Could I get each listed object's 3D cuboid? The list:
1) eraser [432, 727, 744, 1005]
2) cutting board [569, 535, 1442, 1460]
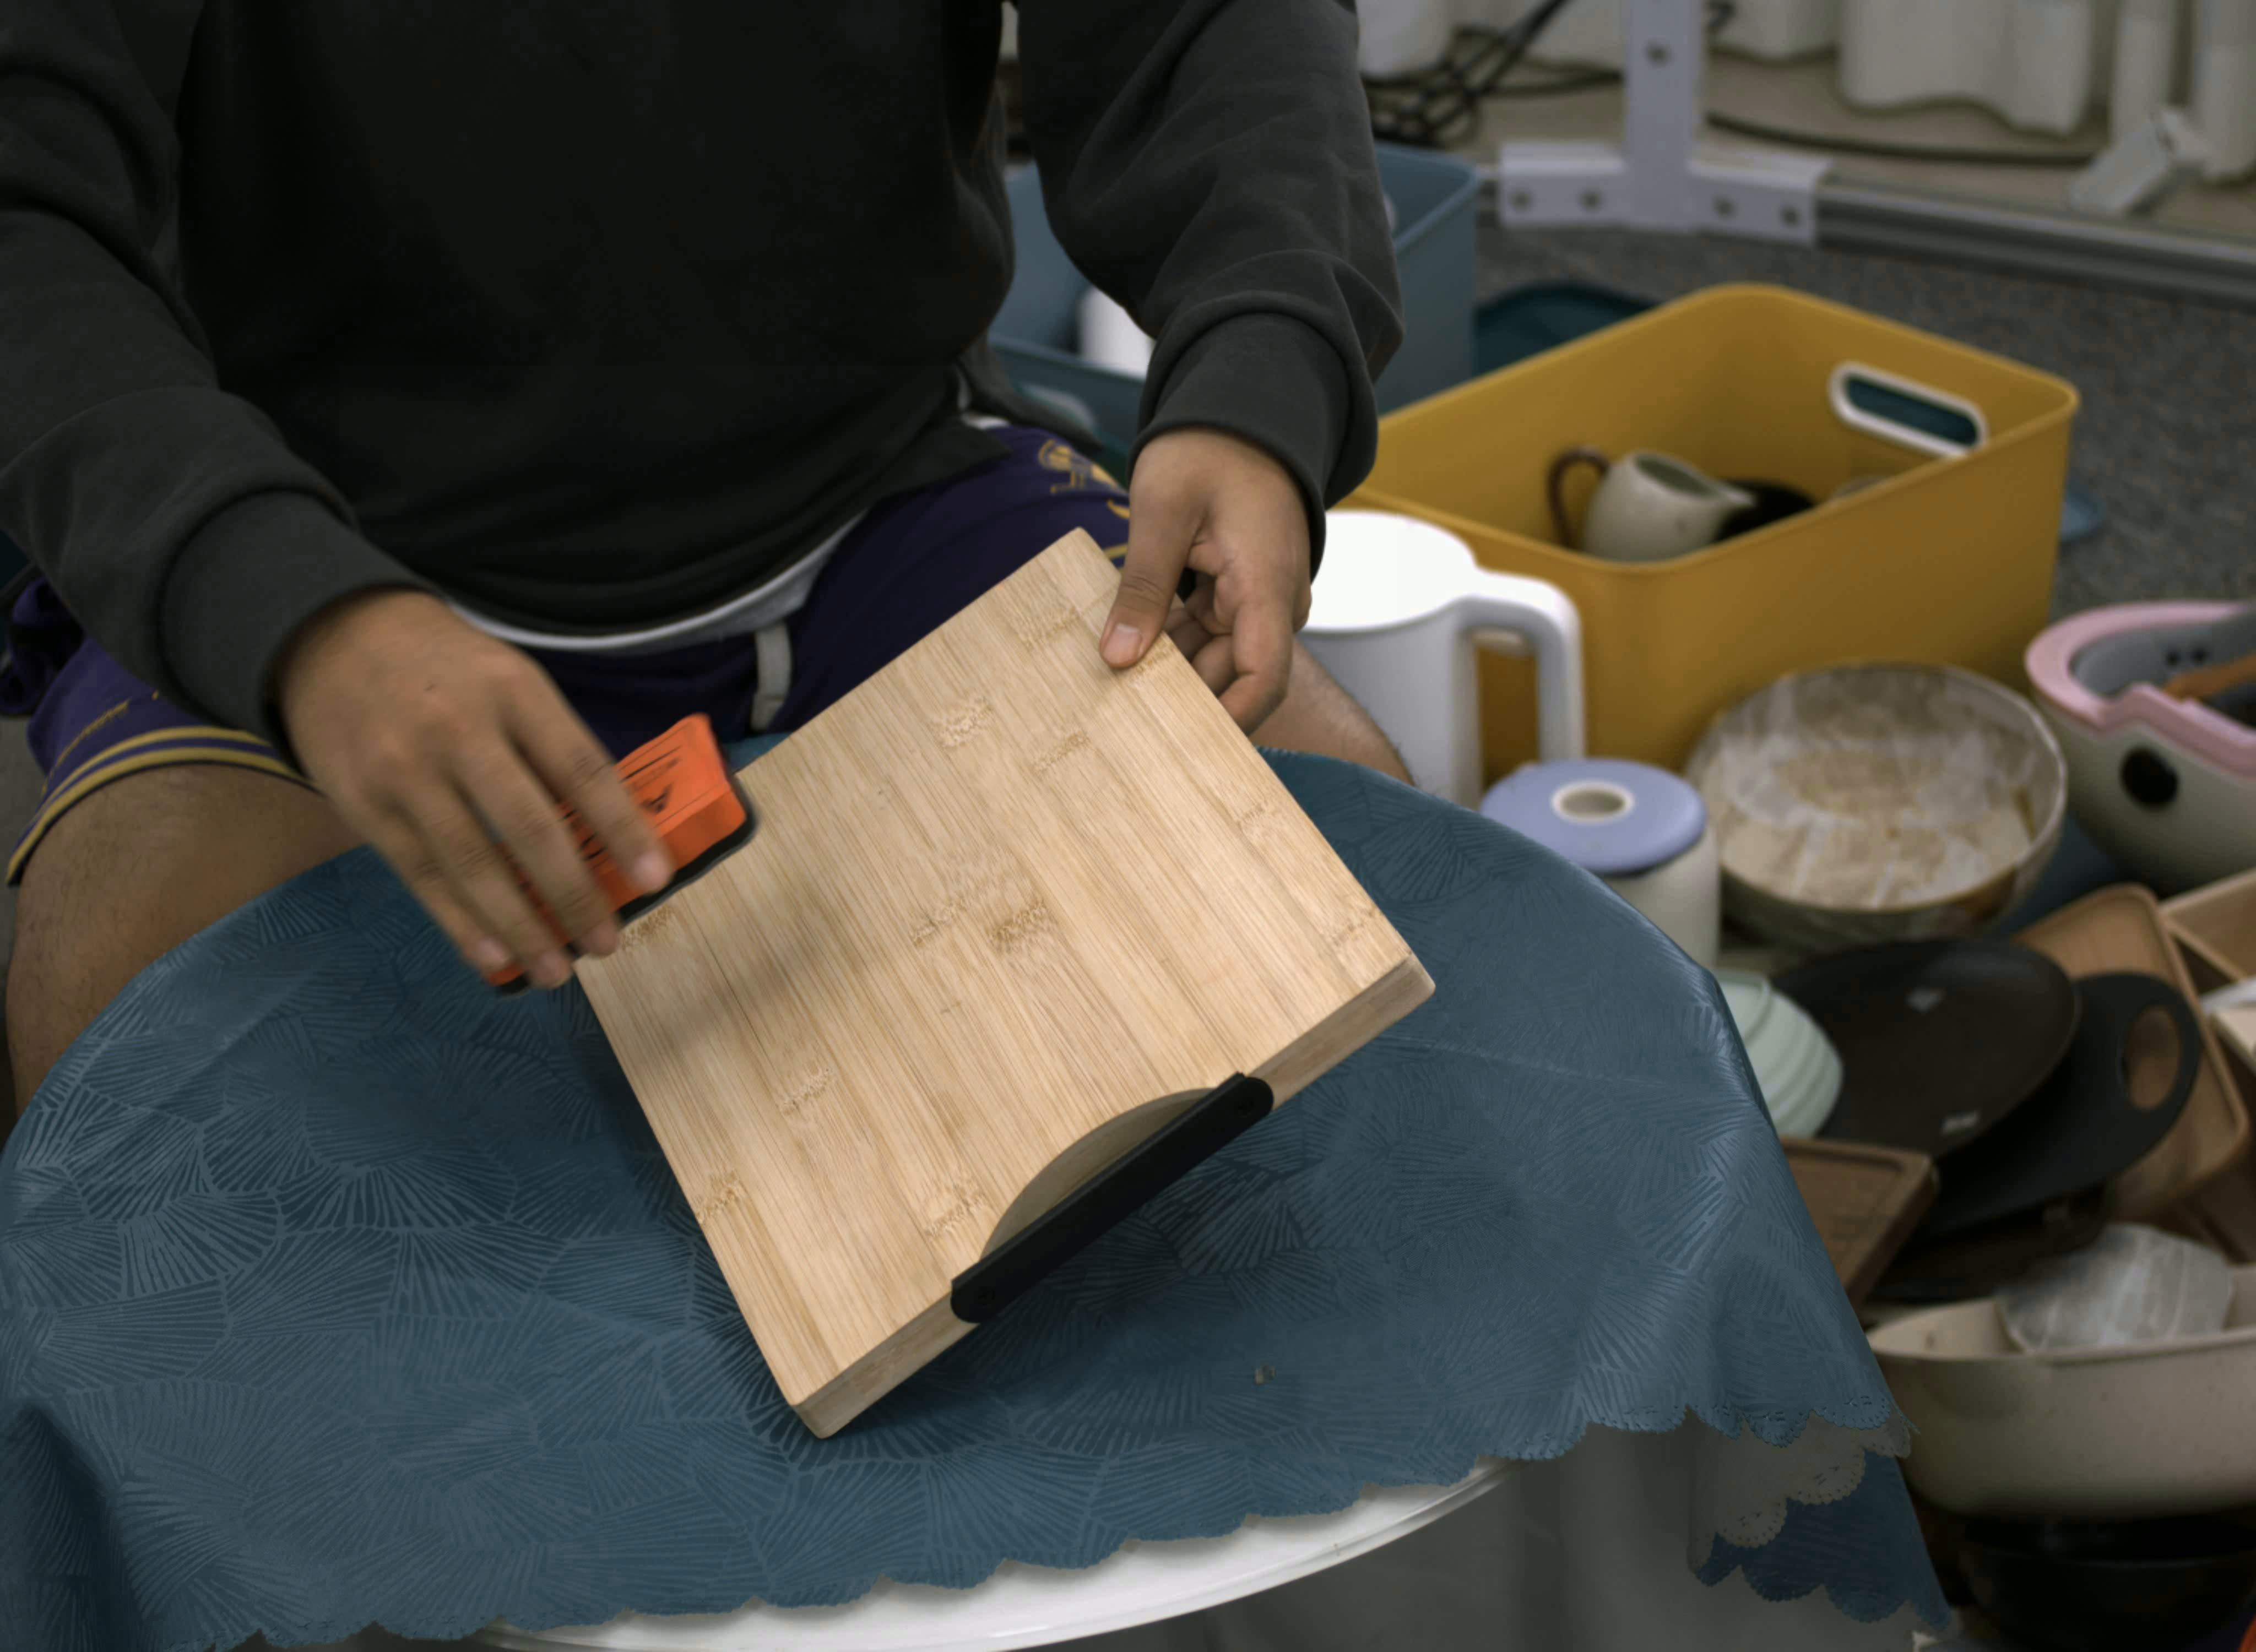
[{"bbox_3d":[-0.181,0.014,1.885,0.107,0.022,0.060,-32,33,5],"label":"eraser"},{"bbox_3d":[-0.055,0.045,1.877,0.250,0.023,0.352,-36,32,-1],"label":"cutting board"}]
